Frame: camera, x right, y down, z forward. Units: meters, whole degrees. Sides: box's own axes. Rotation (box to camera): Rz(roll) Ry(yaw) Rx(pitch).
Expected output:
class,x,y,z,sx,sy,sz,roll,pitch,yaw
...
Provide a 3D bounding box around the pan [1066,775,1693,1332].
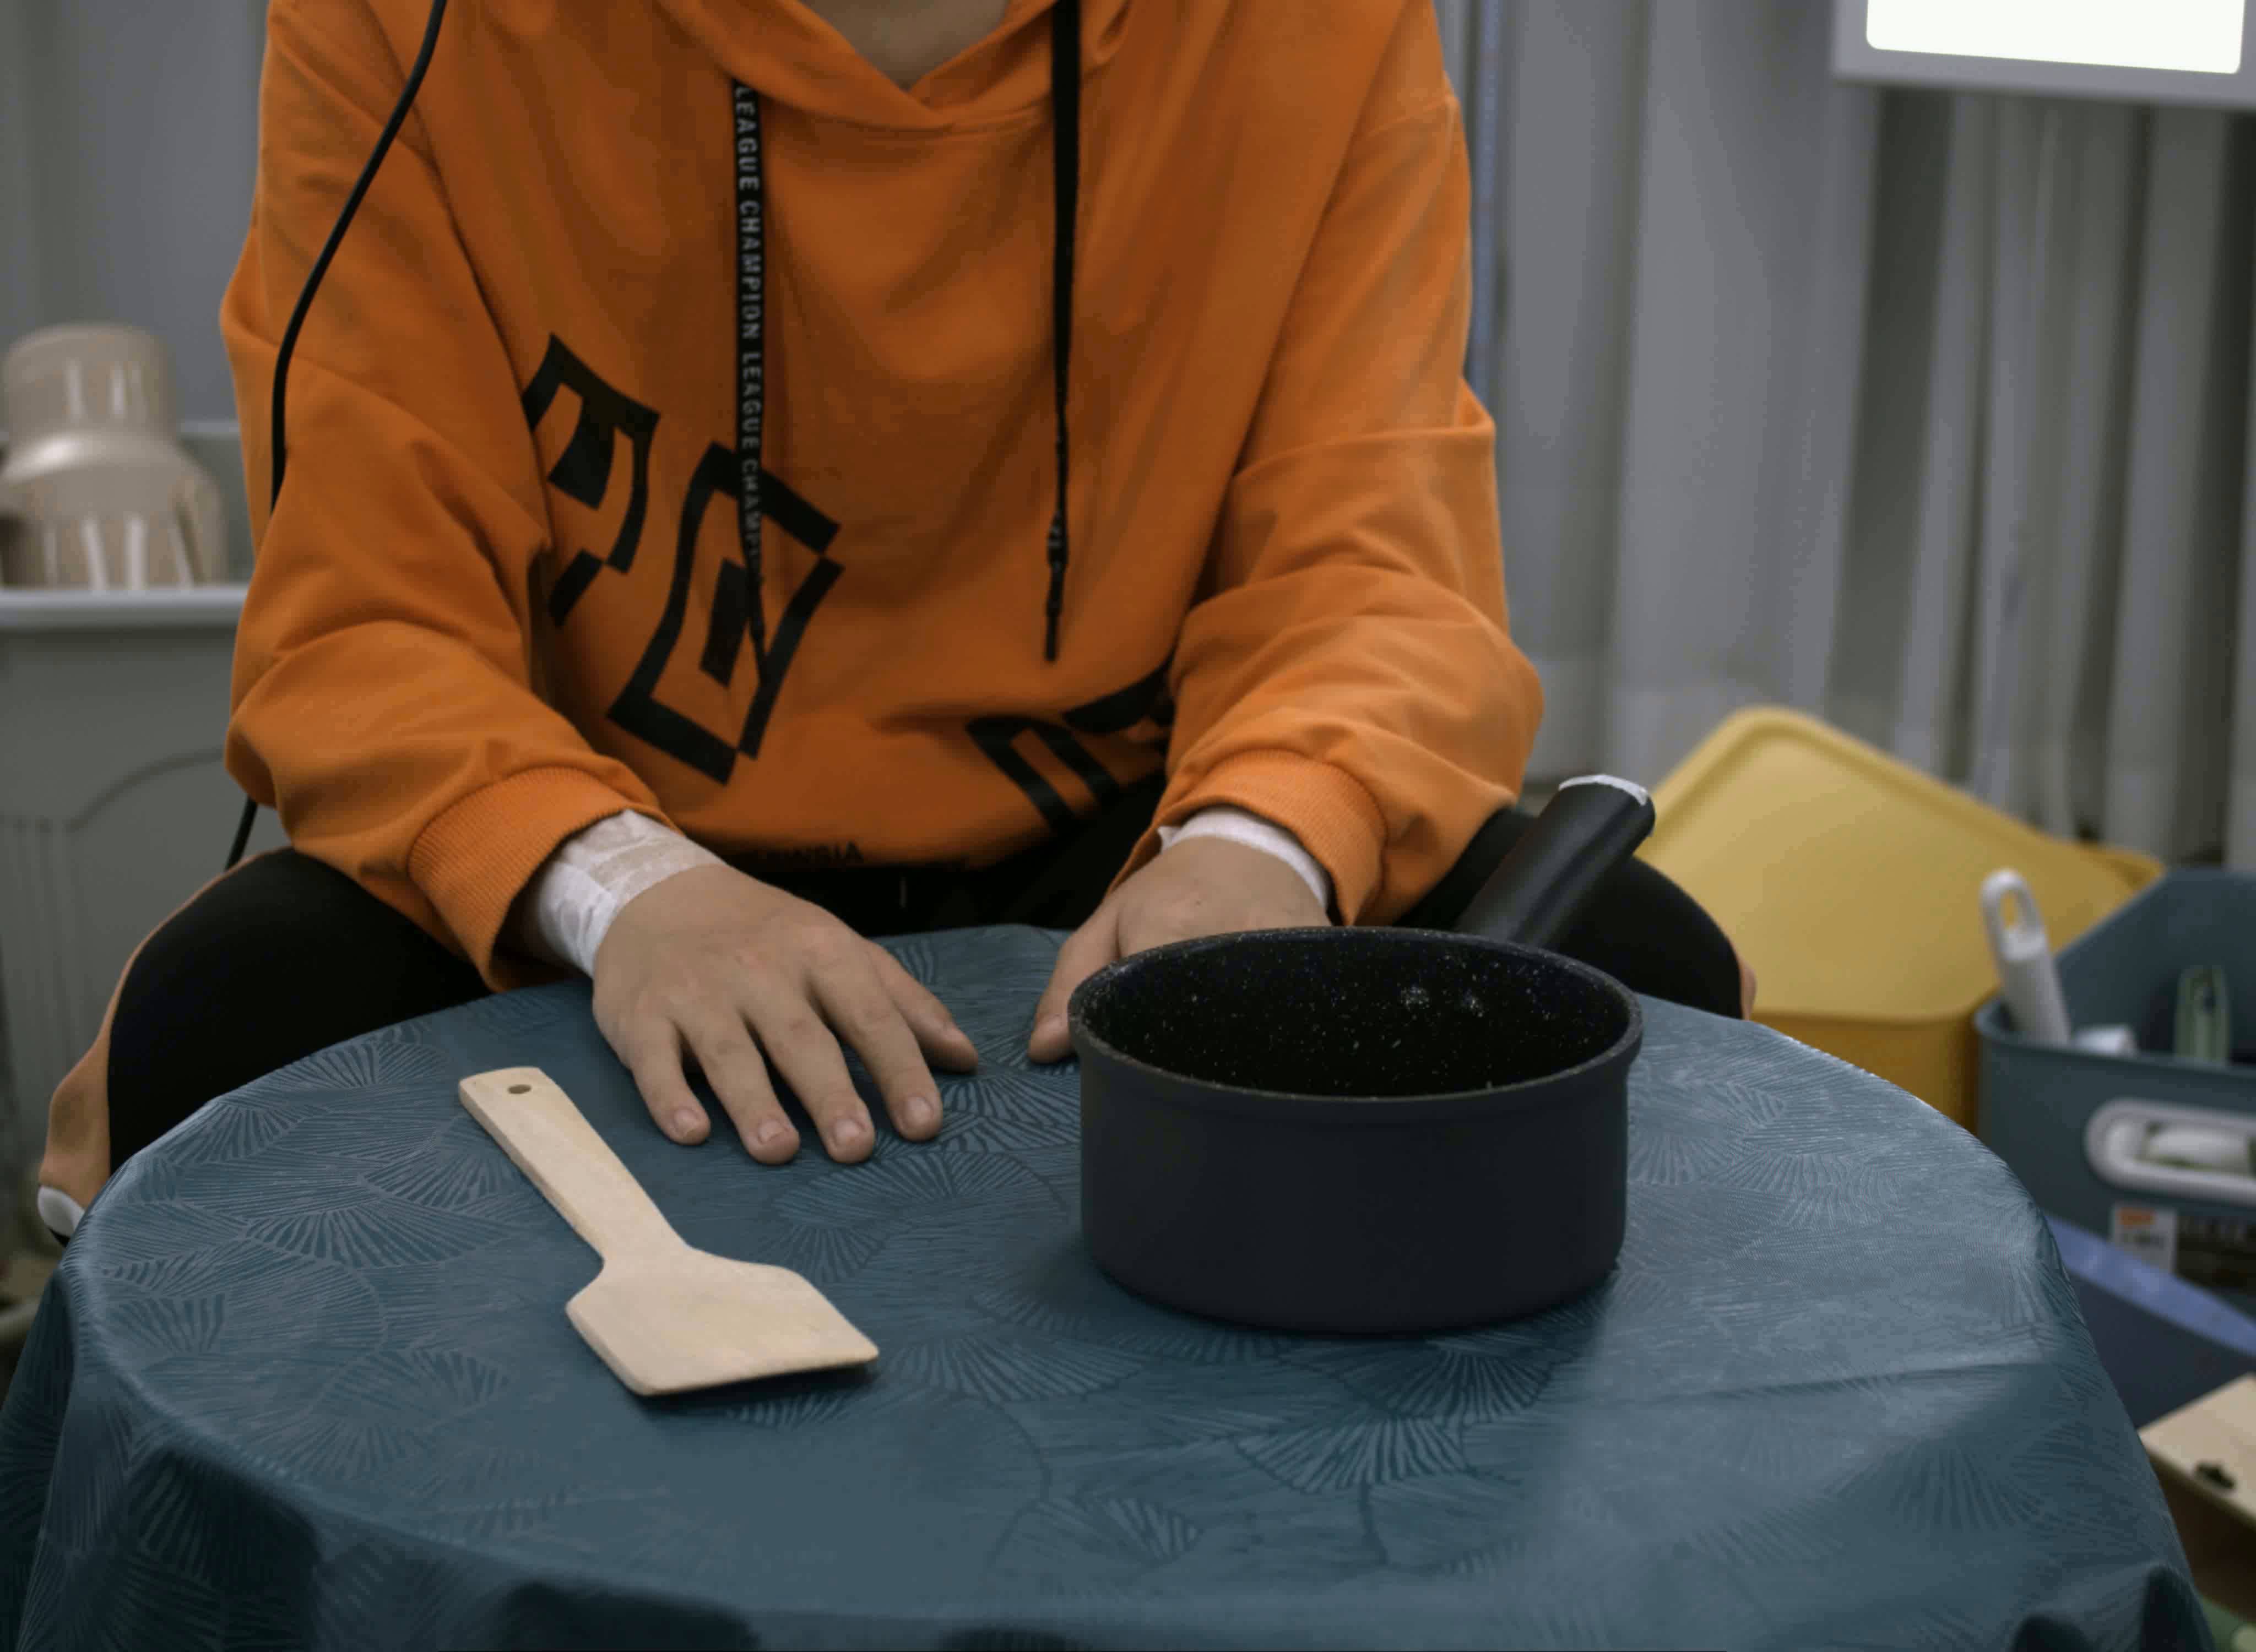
class,x,y,z,sx,sy,sz,roll,pitch,yaw
pan,0.101,0.066,1.634,0.170,0.087,0.329,9,19,24

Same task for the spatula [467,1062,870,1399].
class,x,y,z,sx,sy,sz,roll,pitch,yaw
spatula,-0.154,0.118,1.582,0.072,0.011,0.290,-9,18,-19
